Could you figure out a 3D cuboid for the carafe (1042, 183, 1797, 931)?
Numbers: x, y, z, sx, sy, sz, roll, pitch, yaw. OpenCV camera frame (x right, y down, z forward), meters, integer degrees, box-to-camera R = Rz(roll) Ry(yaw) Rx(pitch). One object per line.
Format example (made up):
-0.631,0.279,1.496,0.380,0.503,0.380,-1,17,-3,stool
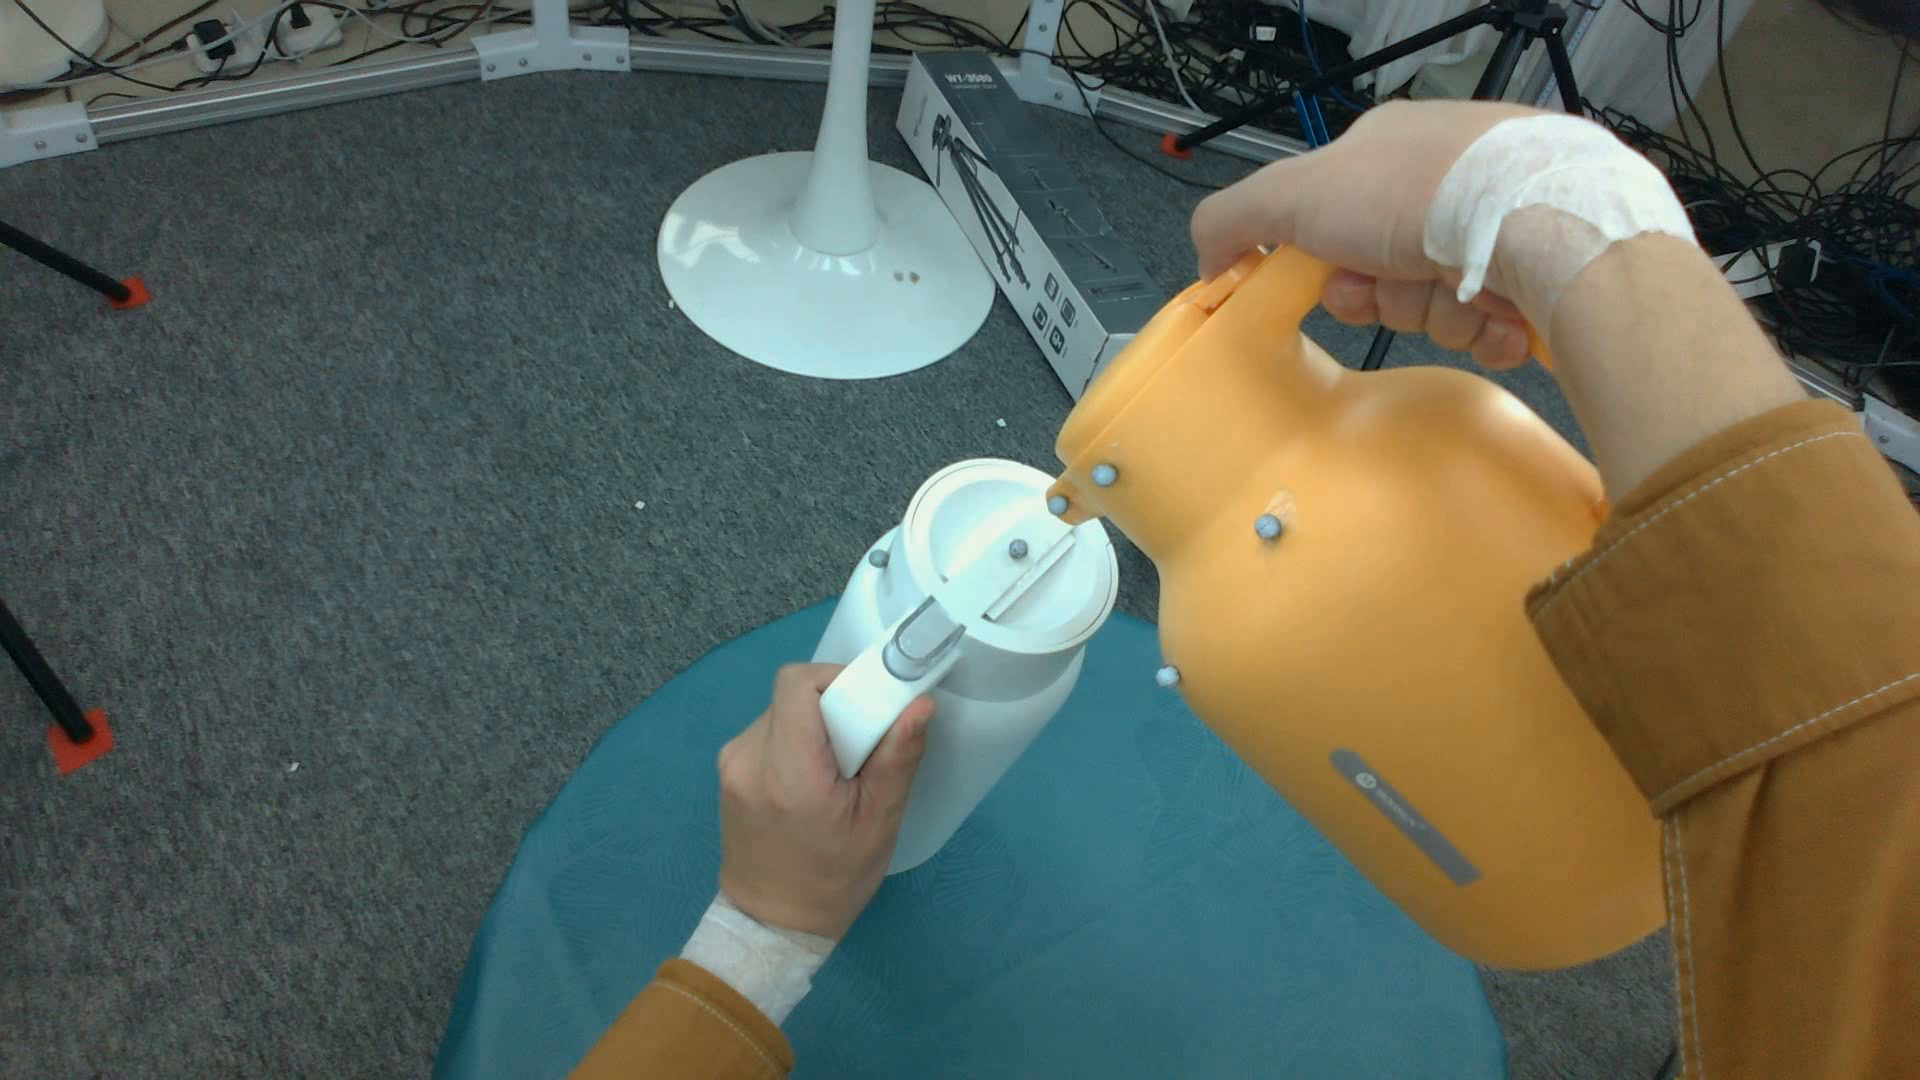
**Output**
0.162,0.001,0.492,0.260,0.201,0.164,38,48,0,carafe

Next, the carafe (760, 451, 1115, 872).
-0.028,0.080,0.684,0.124,0.267,0.173,42,54,6,carafe
